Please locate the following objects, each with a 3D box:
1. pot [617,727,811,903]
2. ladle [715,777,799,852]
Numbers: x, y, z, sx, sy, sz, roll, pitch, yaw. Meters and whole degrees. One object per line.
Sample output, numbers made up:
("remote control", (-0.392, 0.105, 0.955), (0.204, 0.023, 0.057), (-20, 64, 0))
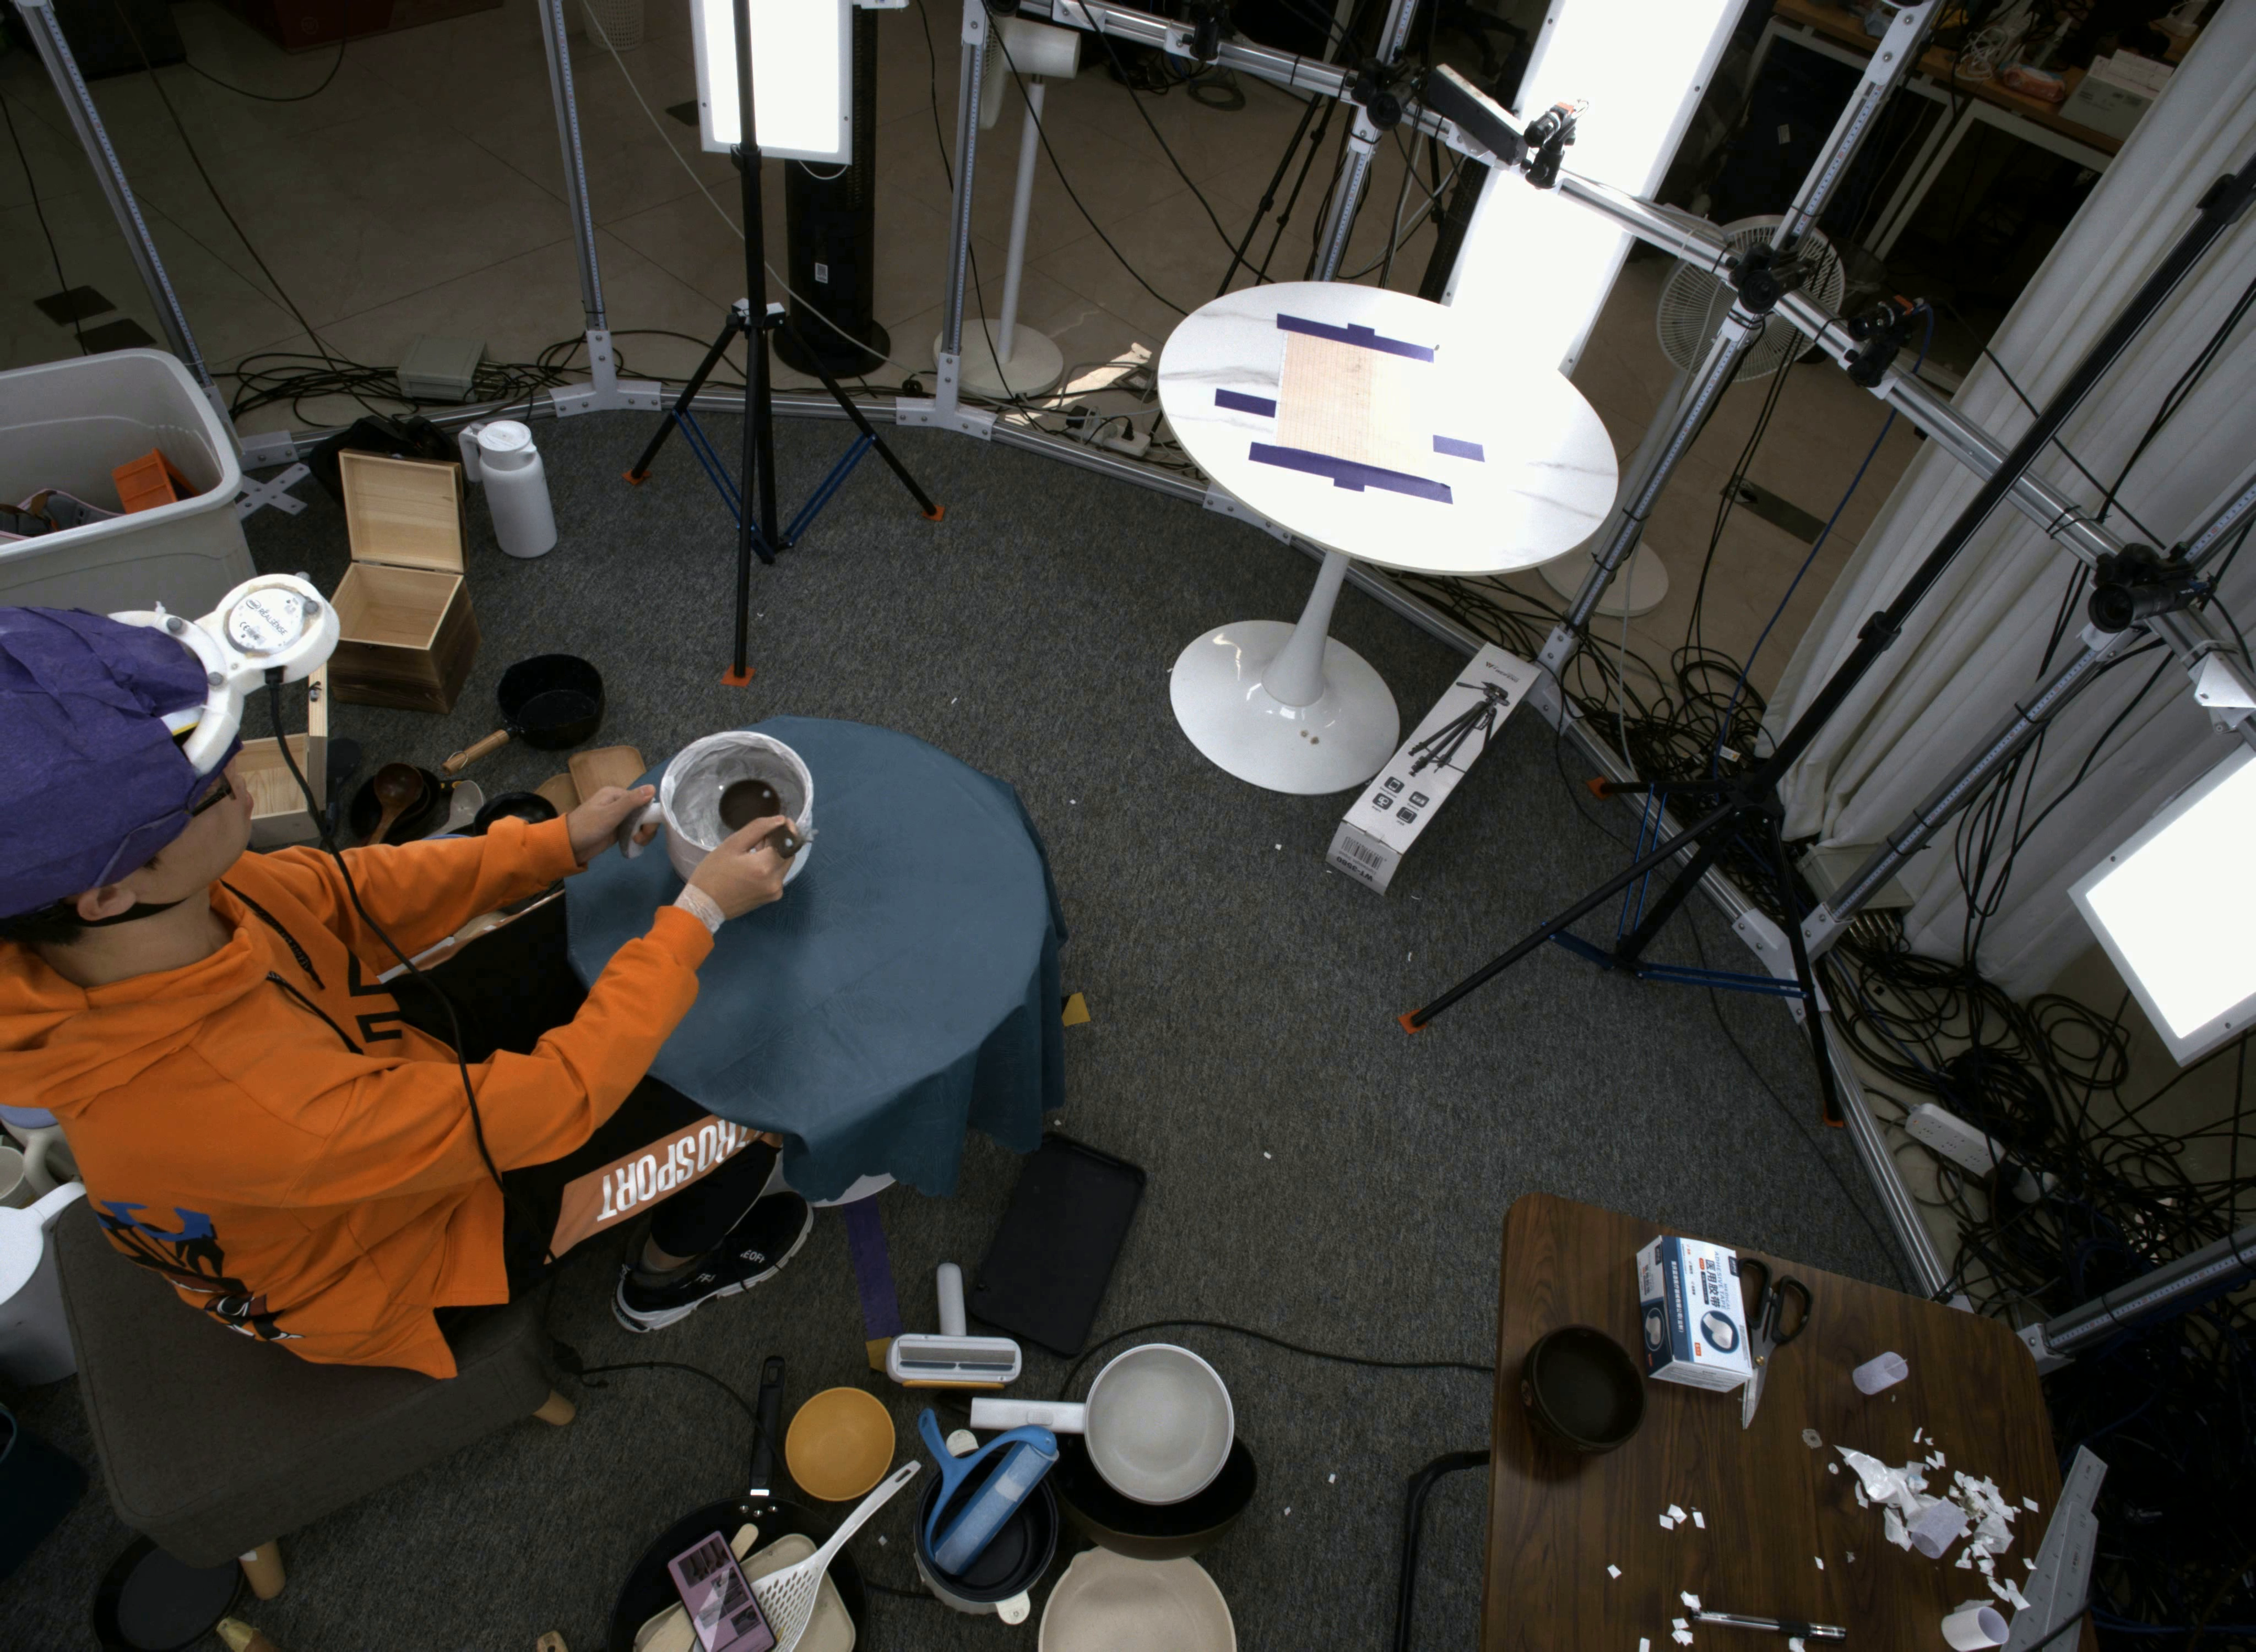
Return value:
("pot", (-0.499, -0.007, 1.550), (0.235, 0.139, 0.175), (-6, 60, -19))
("ladle", (-0.420, -0.016, 1.464), (0.076, 0.267, 0.073), (-38, 106, -16))
